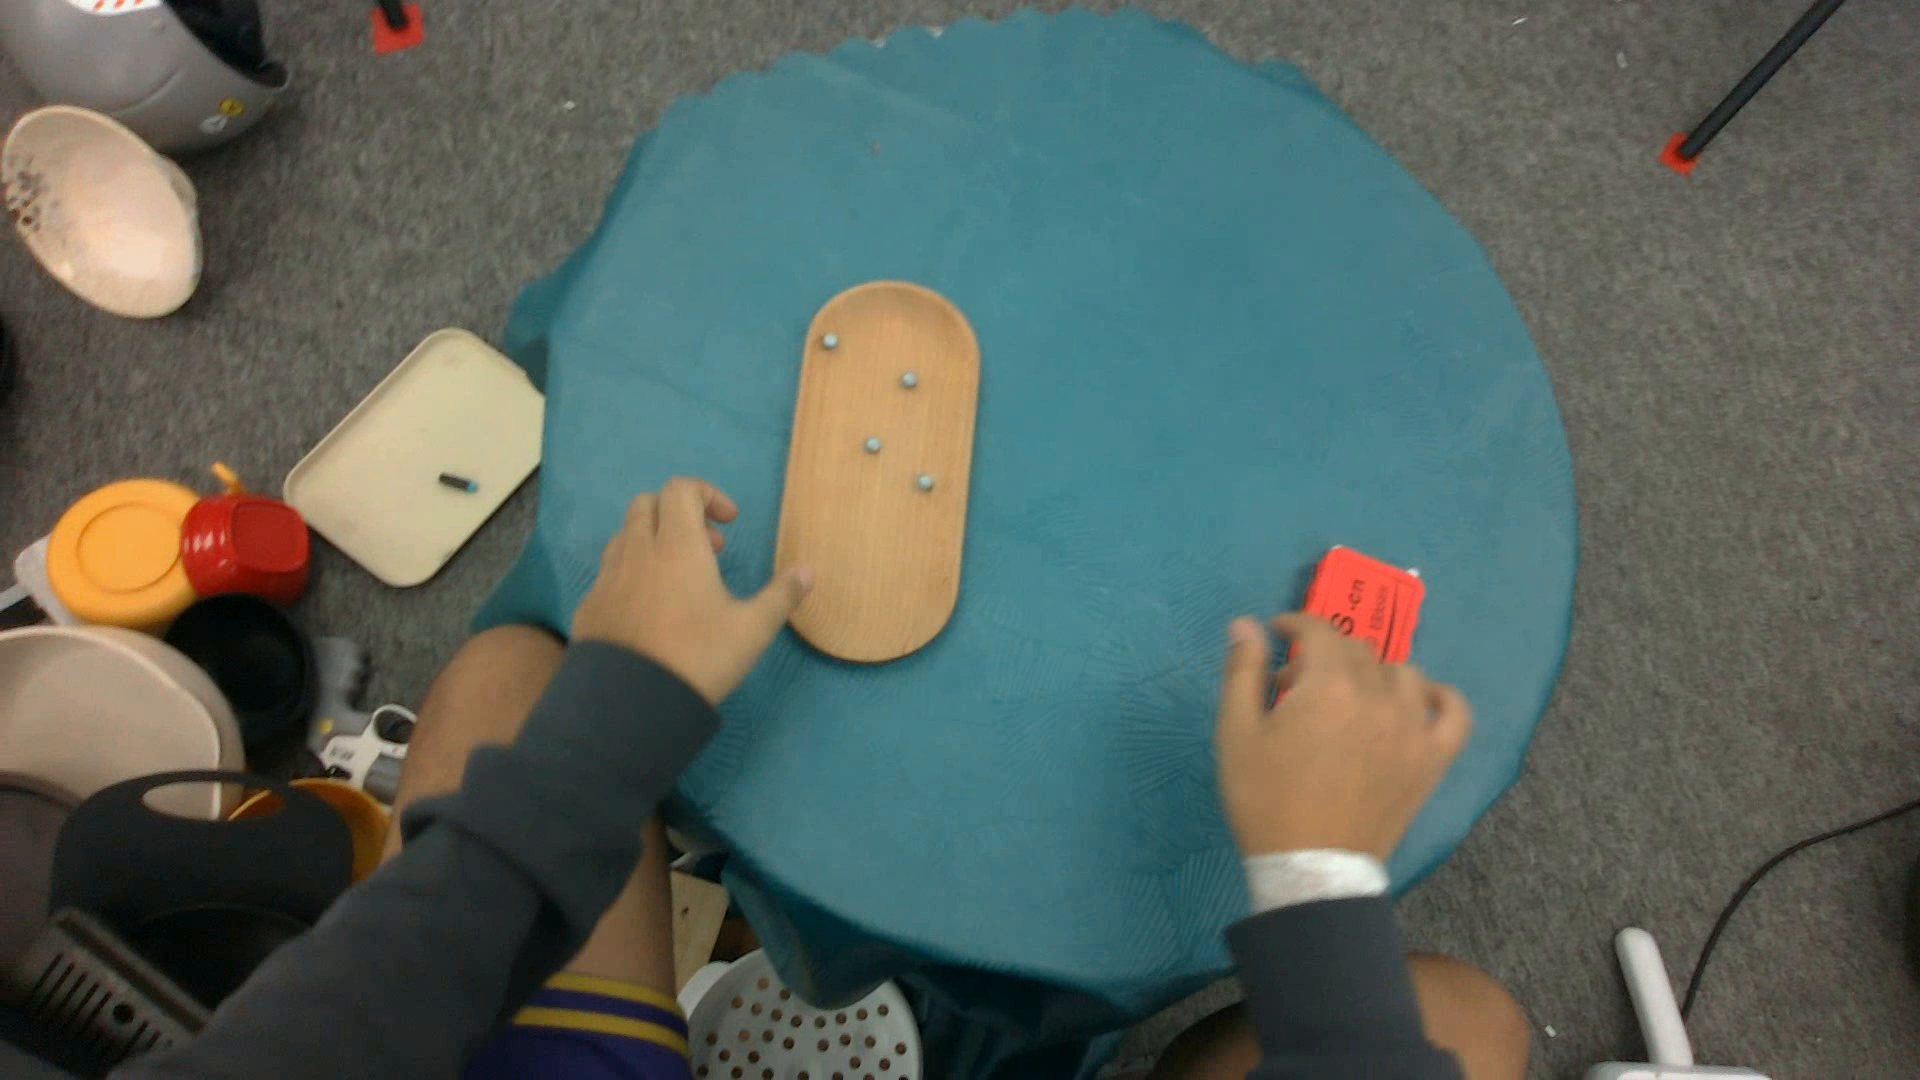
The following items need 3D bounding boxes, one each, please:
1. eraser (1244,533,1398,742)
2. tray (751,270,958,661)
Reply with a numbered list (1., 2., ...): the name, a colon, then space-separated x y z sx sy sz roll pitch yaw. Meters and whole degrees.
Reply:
1. eraser: 0.200 0.053 0.760 0.059 0.023 0.108 23 70 0
2. tray: -0.057 -0.045 0.764 0.102 0.020 0.232 6 72 -4
